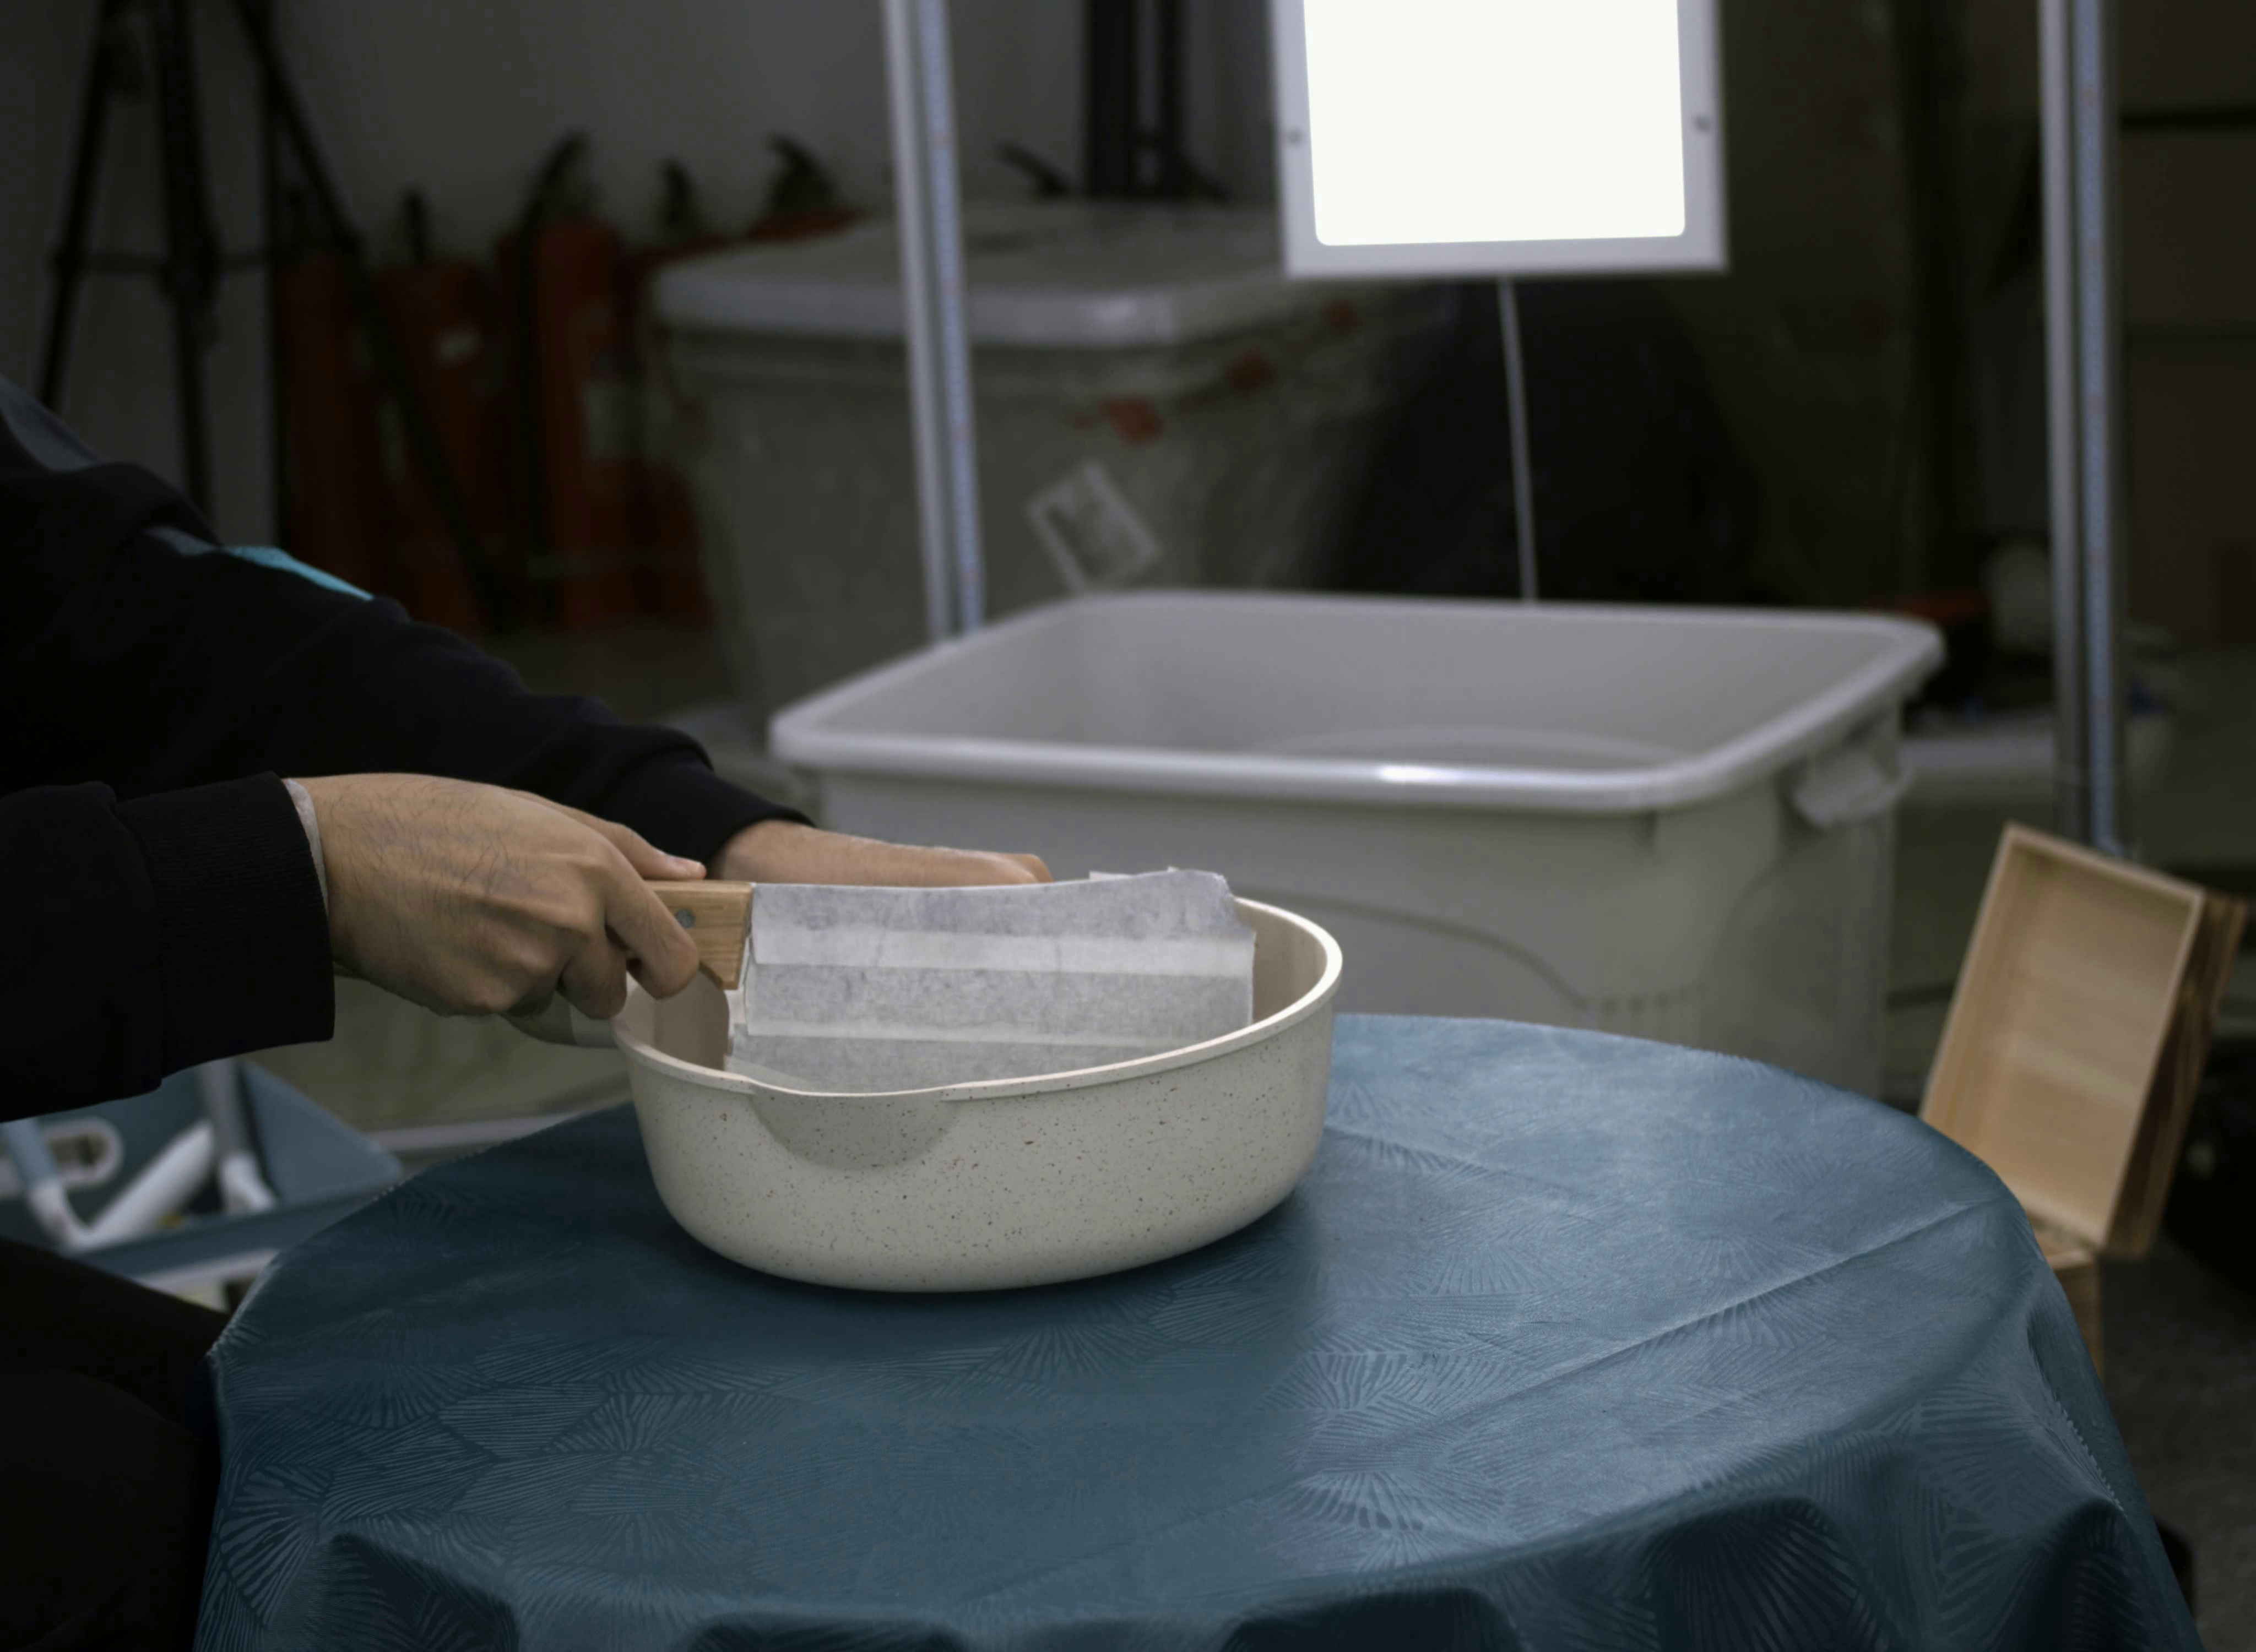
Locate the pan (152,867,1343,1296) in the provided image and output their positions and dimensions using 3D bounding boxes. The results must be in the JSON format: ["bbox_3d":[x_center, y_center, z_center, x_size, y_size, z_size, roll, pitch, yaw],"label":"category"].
[{"bbox_3d":[-0.136,0.082,1.919,0.440,0.102,0.259,0,17,20],"label":"pan"}]

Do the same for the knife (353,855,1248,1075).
[{"bbox_3d":[-0.105,0.053,1.863,0.313,0.114,0.022,6,2,-7],"label":"knife"}]
